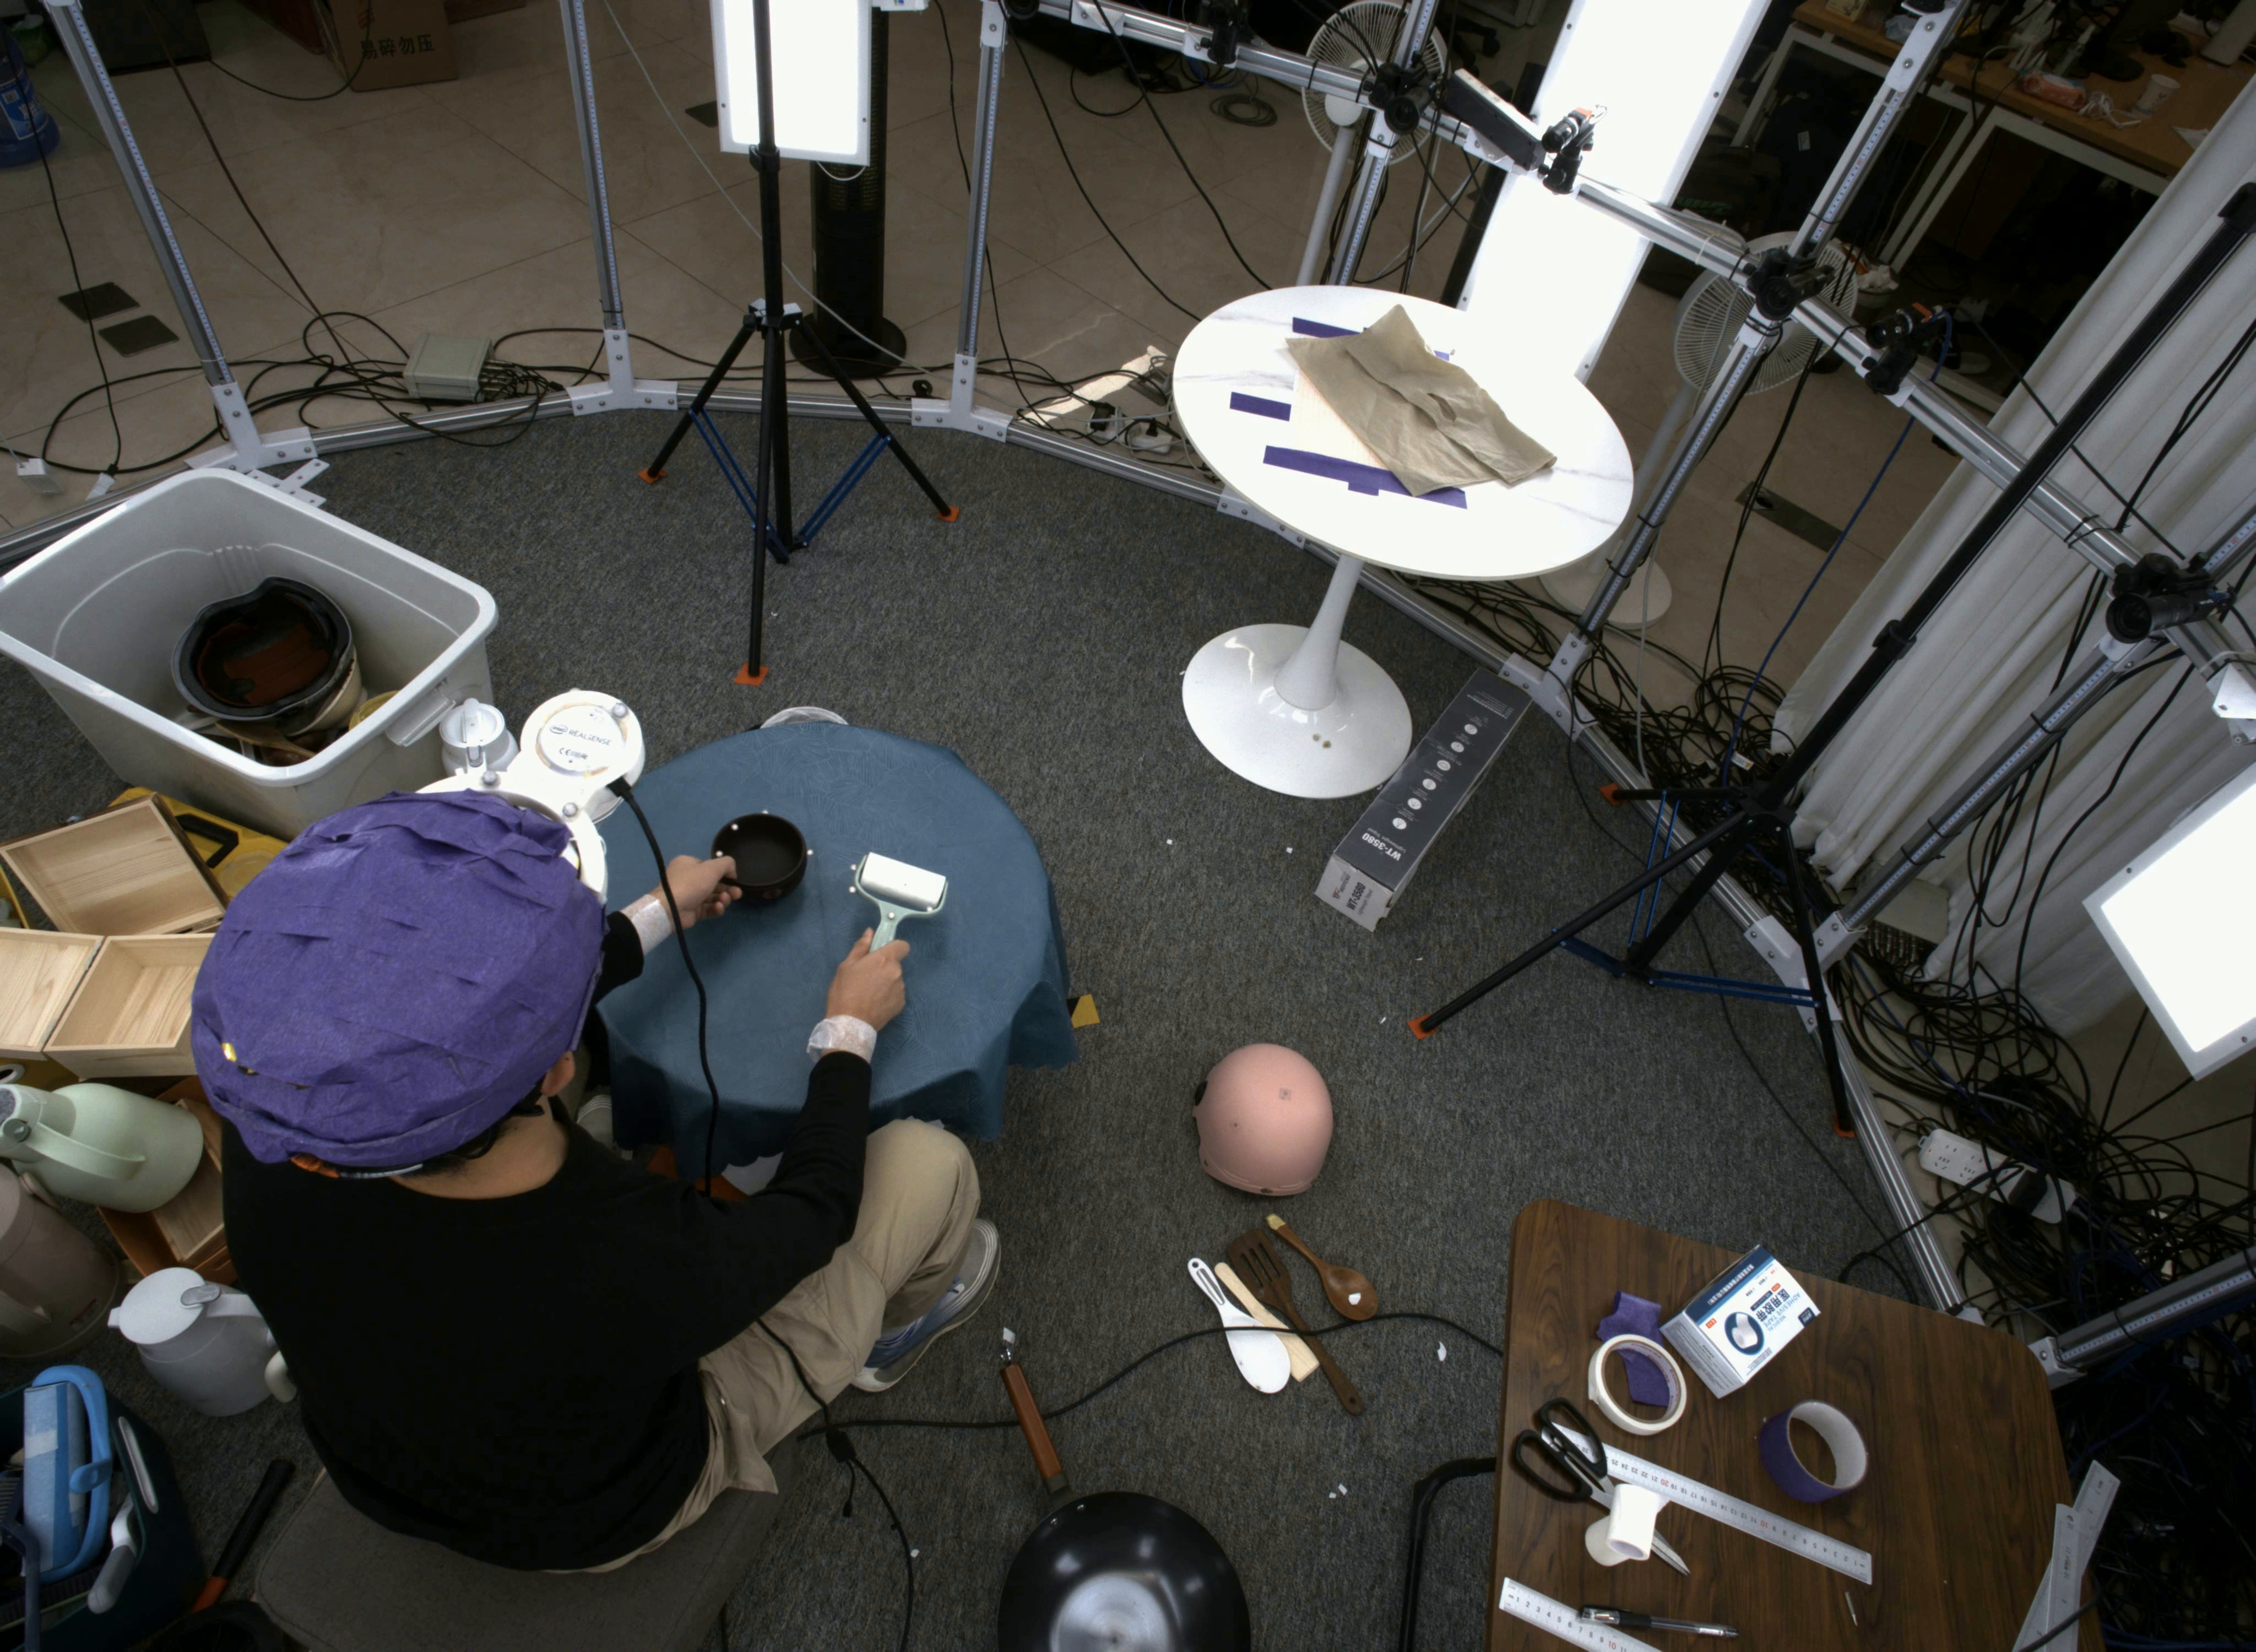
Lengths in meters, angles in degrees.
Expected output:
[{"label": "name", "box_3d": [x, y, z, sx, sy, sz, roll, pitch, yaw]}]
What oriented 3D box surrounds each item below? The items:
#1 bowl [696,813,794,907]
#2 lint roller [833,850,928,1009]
[{"label": "bowl", "box_3d": [-0.479, 0.049, 1.621, 0.118, 0.071, 0.116, 8, 53, -9]}, {"label": "lint roller", "box_3d": [-0.316, 0.124, 1.578, 0.117, 0.049, 0.195, 19, 54, -14]}]
